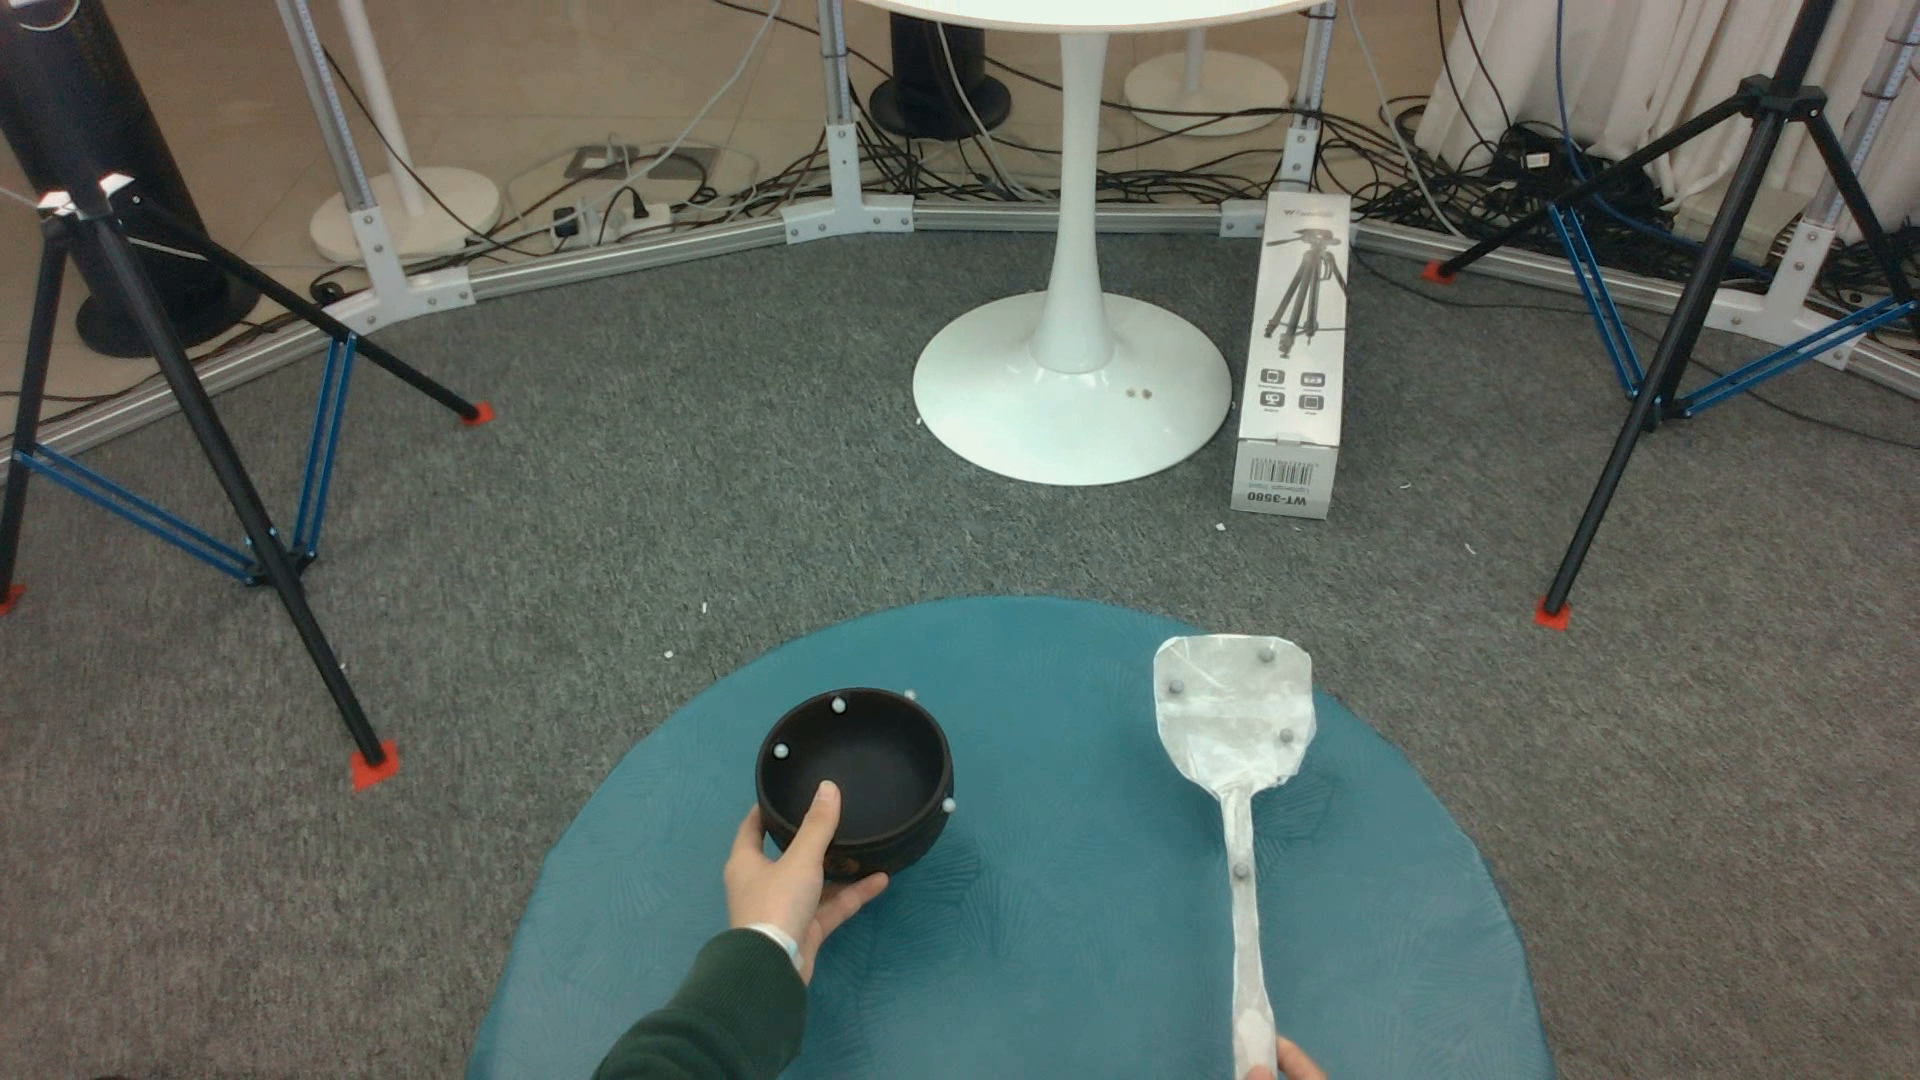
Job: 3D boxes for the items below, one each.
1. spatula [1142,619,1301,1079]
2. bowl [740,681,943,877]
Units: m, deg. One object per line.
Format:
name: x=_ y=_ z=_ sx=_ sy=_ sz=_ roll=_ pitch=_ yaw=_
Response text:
spatula: x=0.147 y=0.194 z=0.758 sx=0.098 sy=0.044 sz=0.367 roll=3 pitch=45 yaw=5
bowl: x=-0.068 y=0.149 z=0.822 sx=0.118 sy=0.069 sz=0.118 roll=-2 pitch=44 yaw=2
